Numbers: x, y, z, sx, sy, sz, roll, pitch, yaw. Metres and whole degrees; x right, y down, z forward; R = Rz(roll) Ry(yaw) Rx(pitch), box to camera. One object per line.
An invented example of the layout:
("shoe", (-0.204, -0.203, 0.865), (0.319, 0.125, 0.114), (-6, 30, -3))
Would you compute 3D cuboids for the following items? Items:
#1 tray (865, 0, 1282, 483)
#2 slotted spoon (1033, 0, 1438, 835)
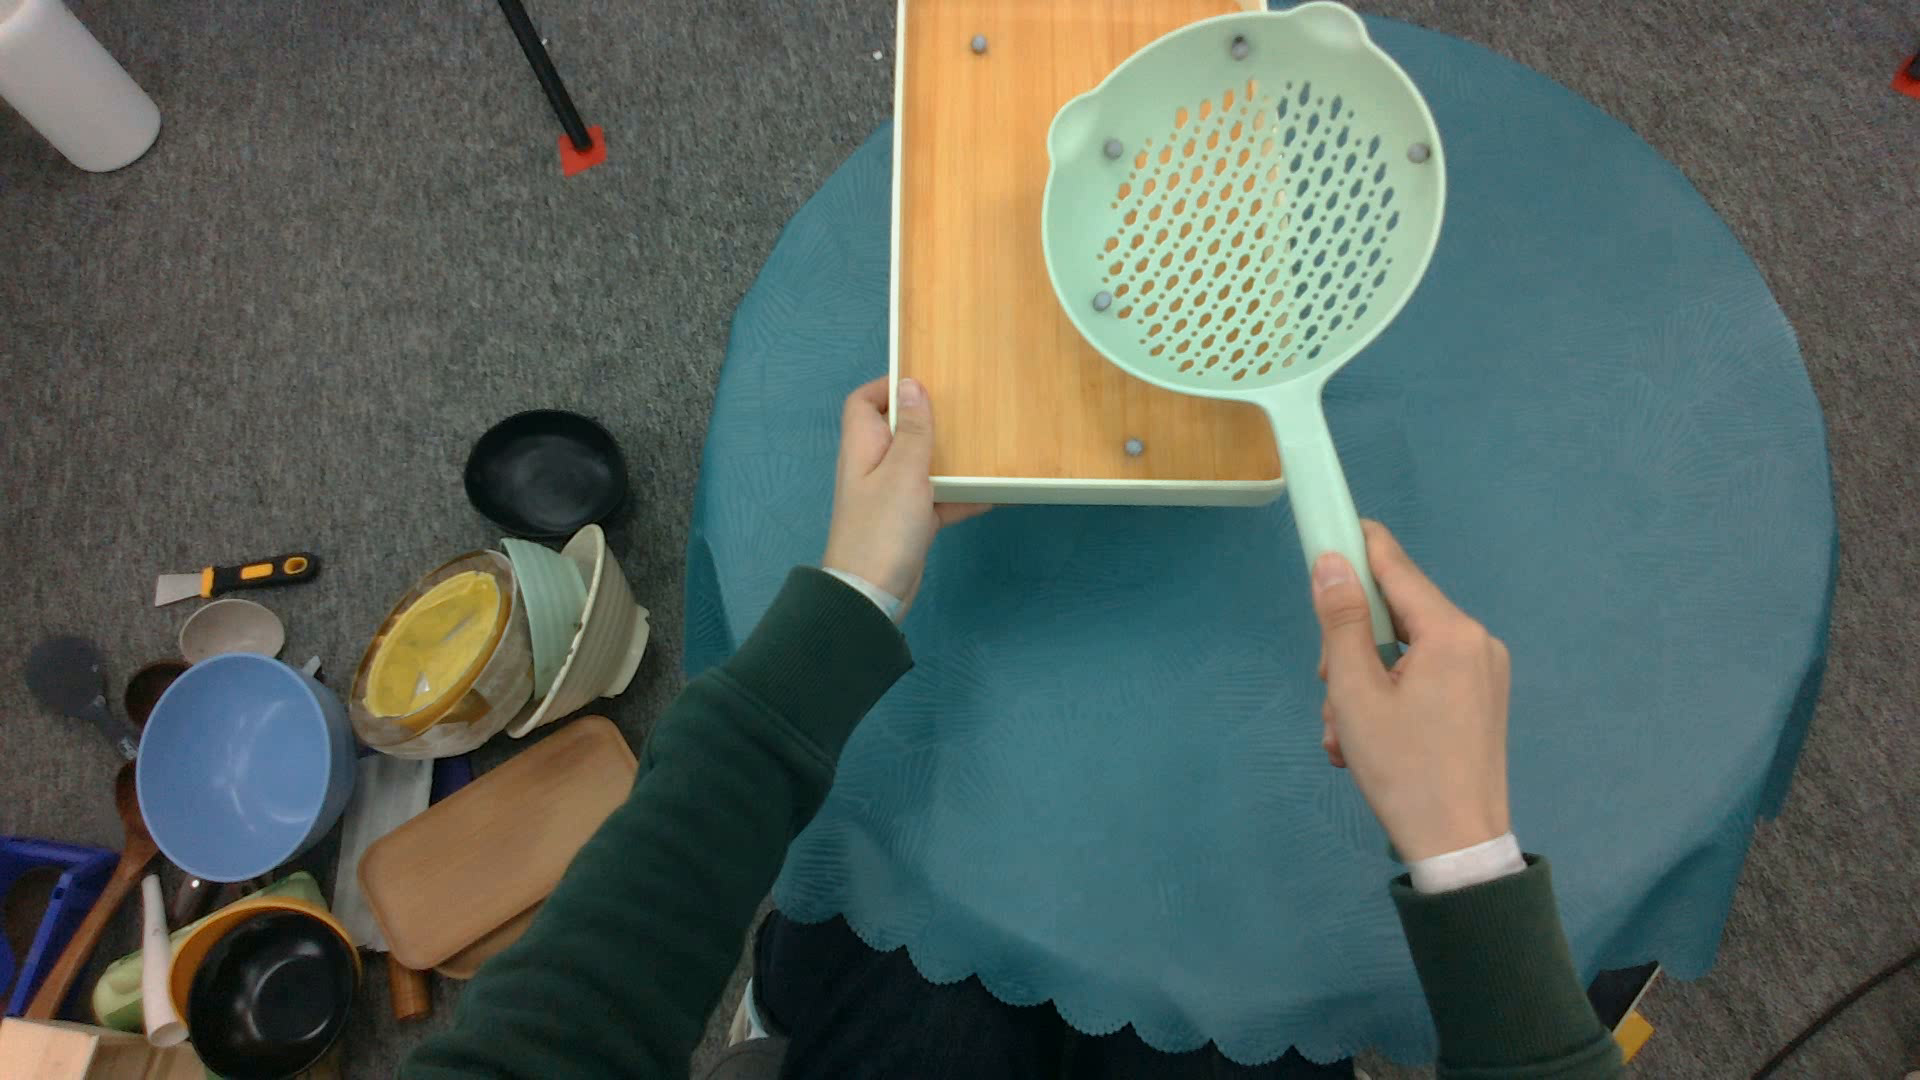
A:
("tray", (0.050, -0.171, 0.677), (0.191, 0.027, 0.301), (1, 69, -3))
("slotted spoon", (0.136, -0.061, 0.573), (0.169, 0.075, 0.360), (-15, 69, 15))
